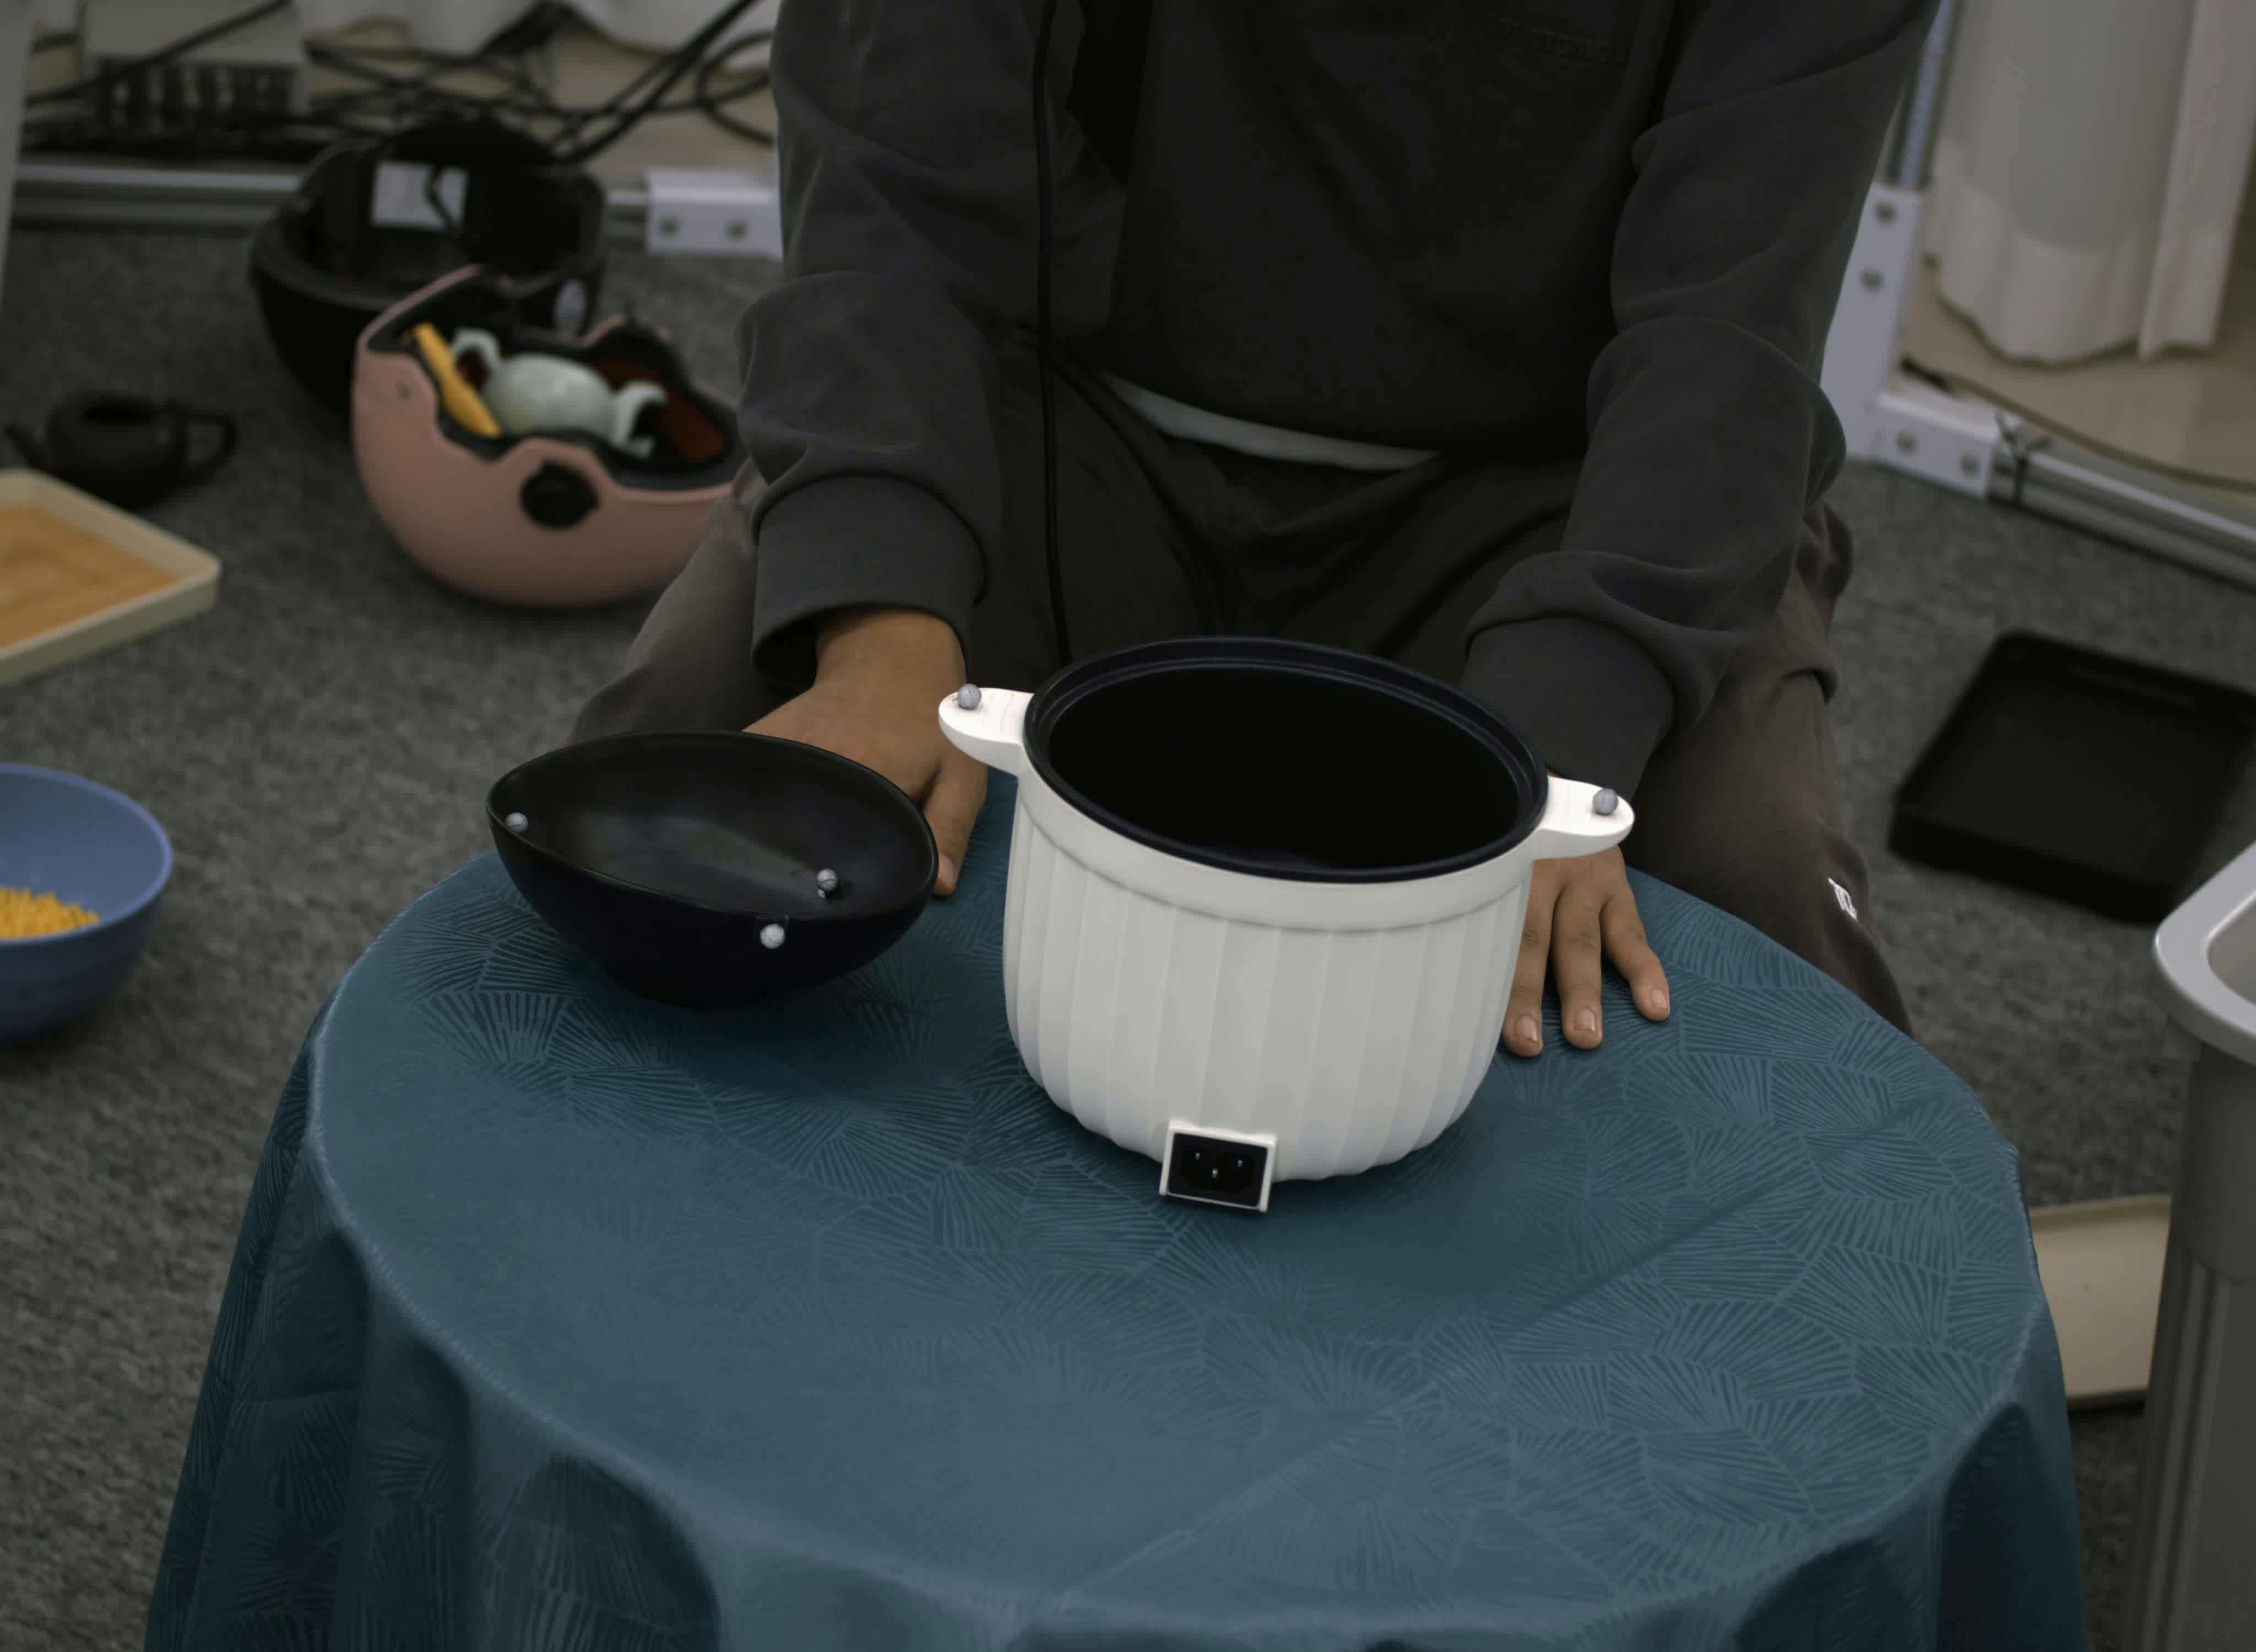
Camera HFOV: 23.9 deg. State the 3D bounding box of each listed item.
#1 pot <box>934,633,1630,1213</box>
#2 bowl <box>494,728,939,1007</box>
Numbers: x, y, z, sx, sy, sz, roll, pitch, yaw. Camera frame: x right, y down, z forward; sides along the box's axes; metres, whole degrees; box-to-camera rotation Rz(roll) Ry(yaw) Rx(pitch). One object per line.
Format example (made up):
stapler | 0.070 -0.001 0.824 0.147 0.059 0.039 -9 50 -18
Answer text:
pot | 0.045 0.030 1.849 0.240 0.142 0.191 10 30 3
bowl | -0.150 0.022 1.900 0.171 0.066 0.137 17 28 22
